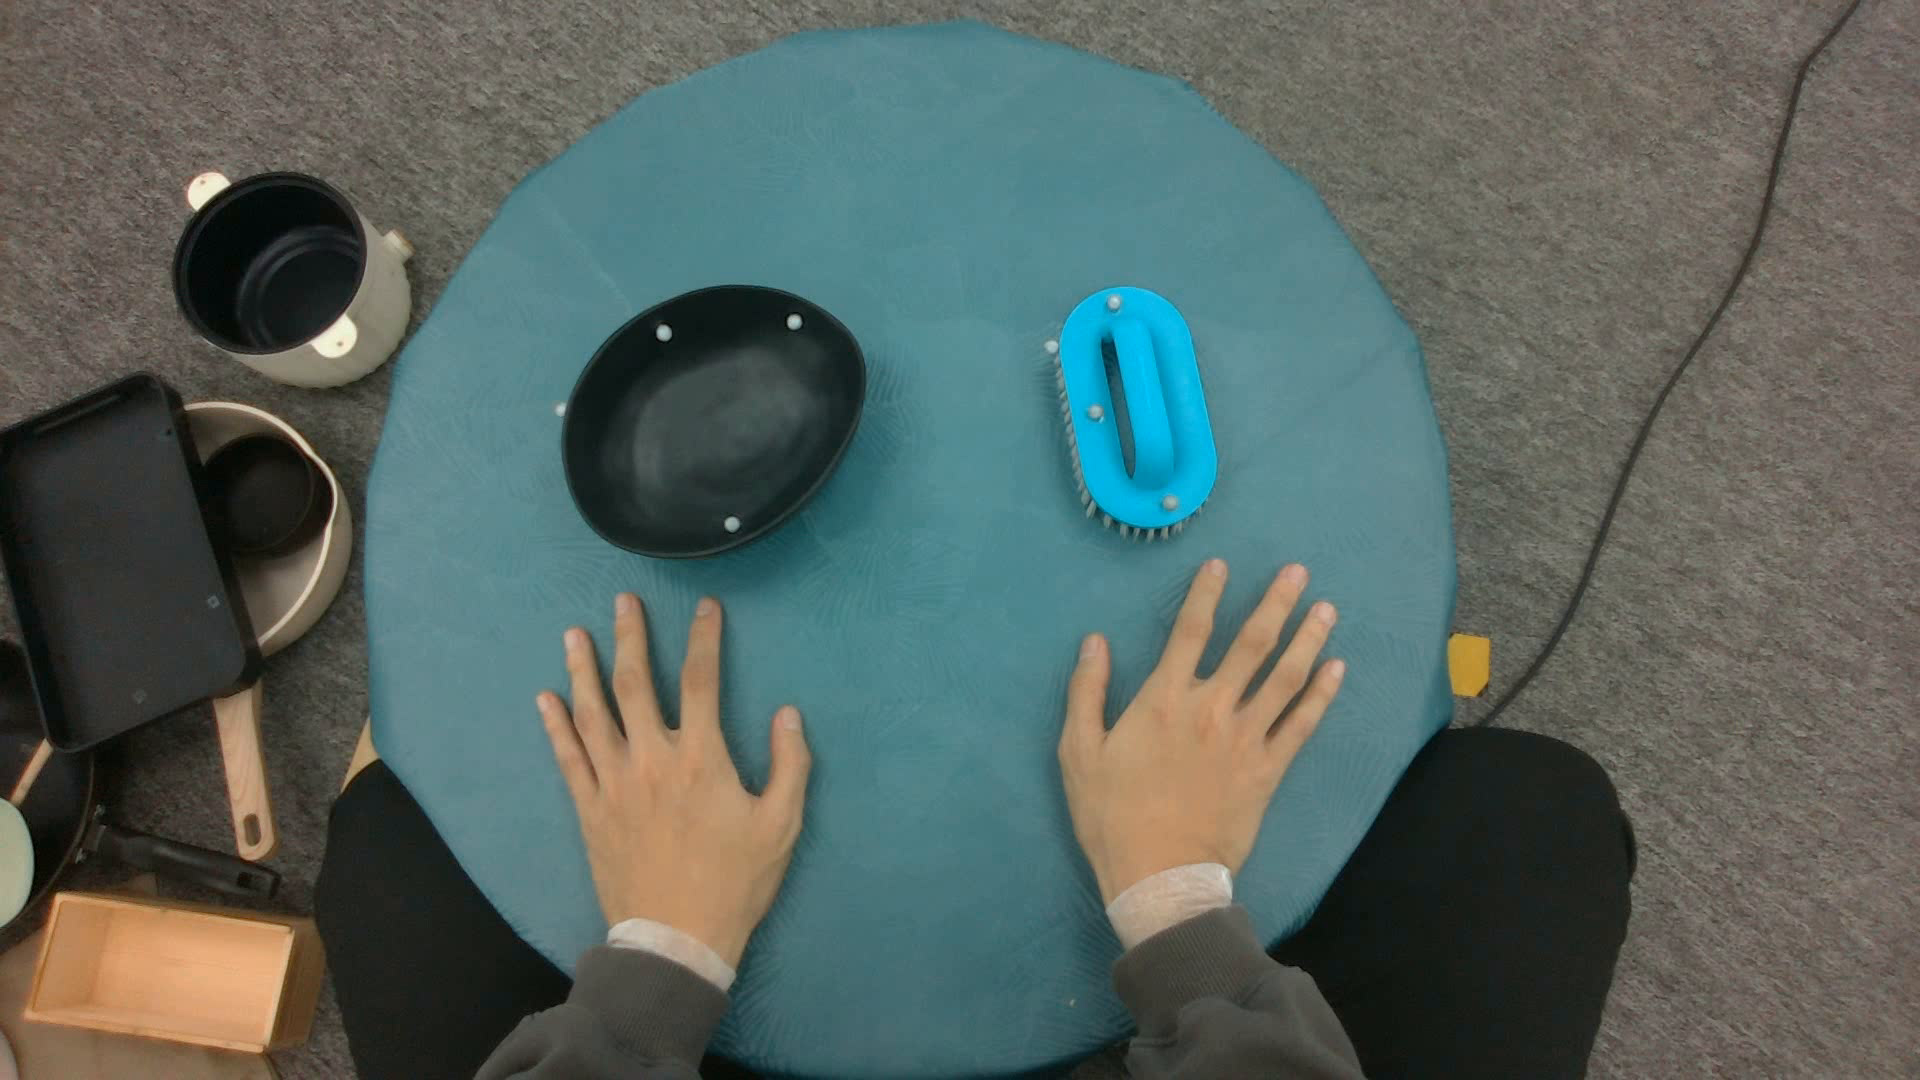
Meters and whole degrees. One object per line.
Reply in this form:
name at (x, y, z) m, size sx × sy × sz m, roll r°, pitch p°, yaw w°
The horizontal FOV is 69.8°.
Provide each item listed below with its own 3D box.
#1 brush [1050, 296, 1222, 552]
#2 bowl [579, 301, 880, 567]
brush at (0.098, -0.068, 0.748) m, size 0.084 × 0.063 × 0.142 m, roll -6°, pitch 77°, yaw -4°
bowl at (-0.122, -0.054, 0.755) m, size 0.170 × 0.066 × 0.137 m, roll -39°, pitch 79°, yaw -9°
